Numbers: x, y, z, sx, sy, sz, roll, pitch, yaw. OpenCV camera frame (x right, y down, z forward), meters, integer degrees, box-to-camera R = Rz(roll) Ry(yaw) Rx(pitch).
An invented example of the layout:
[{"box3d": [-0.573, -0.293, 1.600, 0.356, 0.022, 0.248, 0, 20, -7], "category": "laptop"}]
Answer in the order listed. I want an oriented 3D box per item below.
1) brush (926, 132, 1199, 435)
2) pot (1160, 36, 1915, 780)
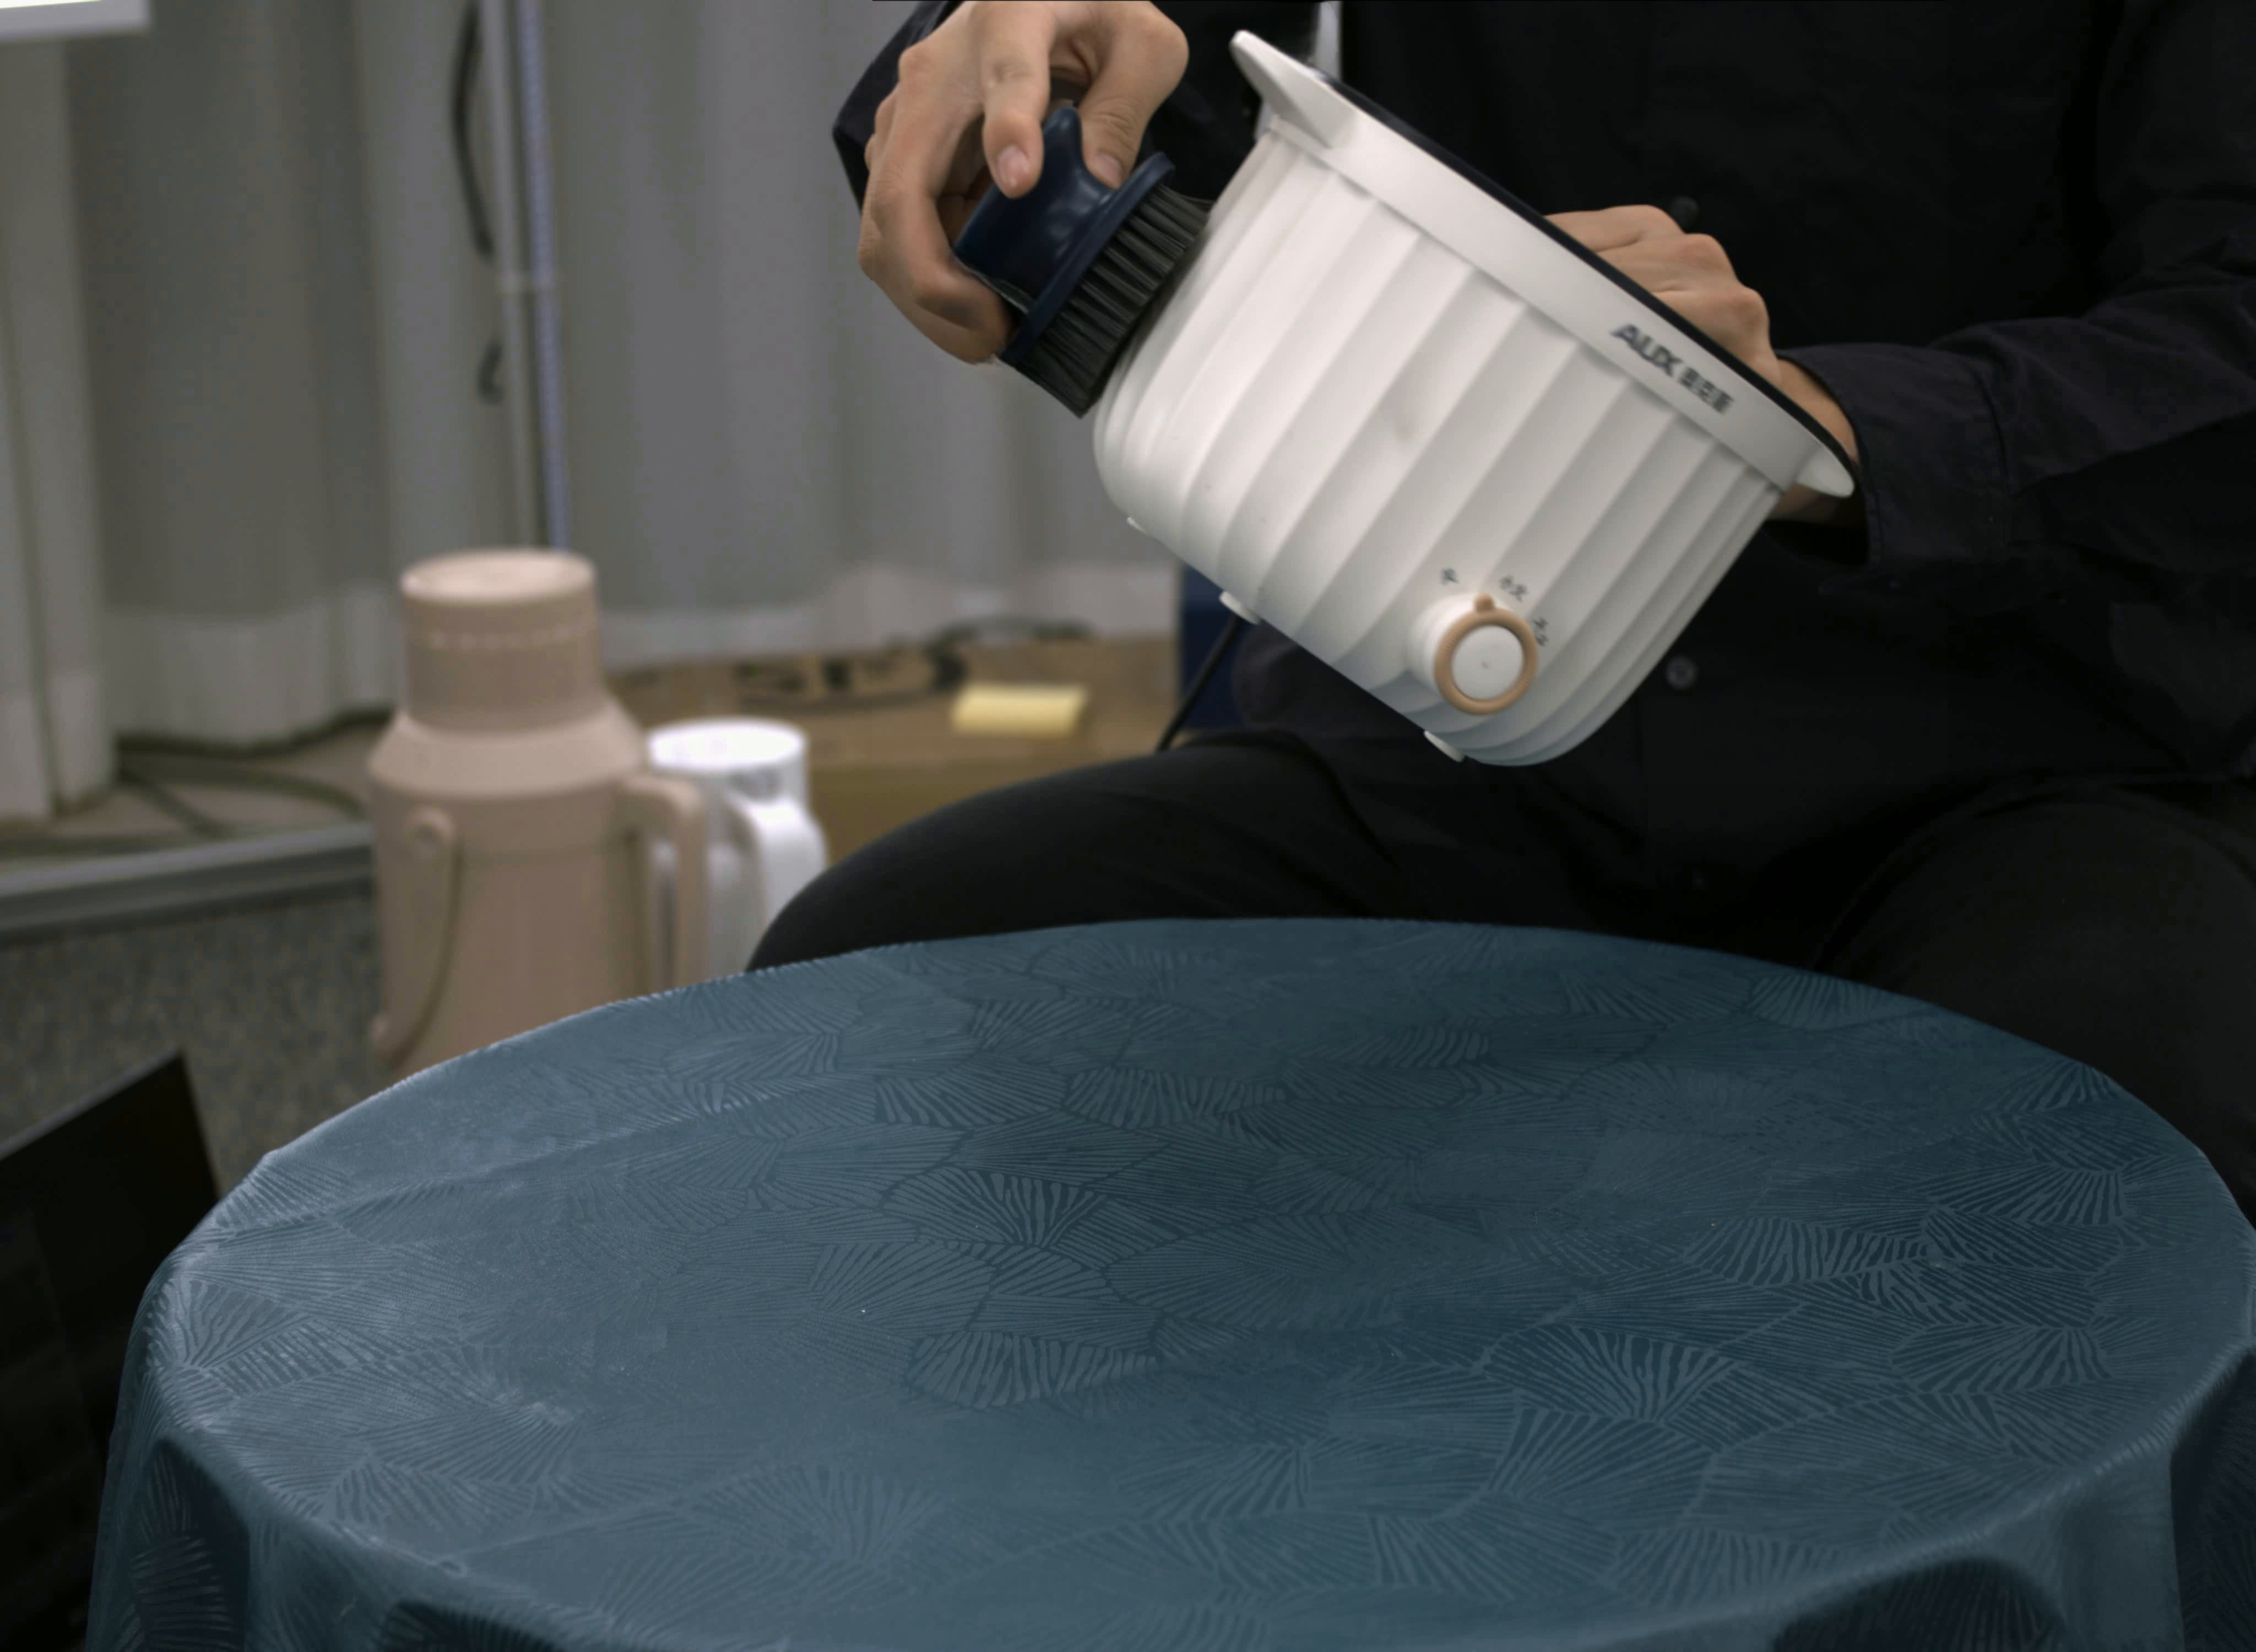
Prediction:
[{"box3d": [-0.017, -0.153, 1.540, 0.061, 0.068, 0.122, 35, -9, -1], "category": "brush"}, {"box3d": [0.108, -0.102, 1.506, 0.235, 0.143, 0.194, 32, 4, -27], "category": "pot"}]
